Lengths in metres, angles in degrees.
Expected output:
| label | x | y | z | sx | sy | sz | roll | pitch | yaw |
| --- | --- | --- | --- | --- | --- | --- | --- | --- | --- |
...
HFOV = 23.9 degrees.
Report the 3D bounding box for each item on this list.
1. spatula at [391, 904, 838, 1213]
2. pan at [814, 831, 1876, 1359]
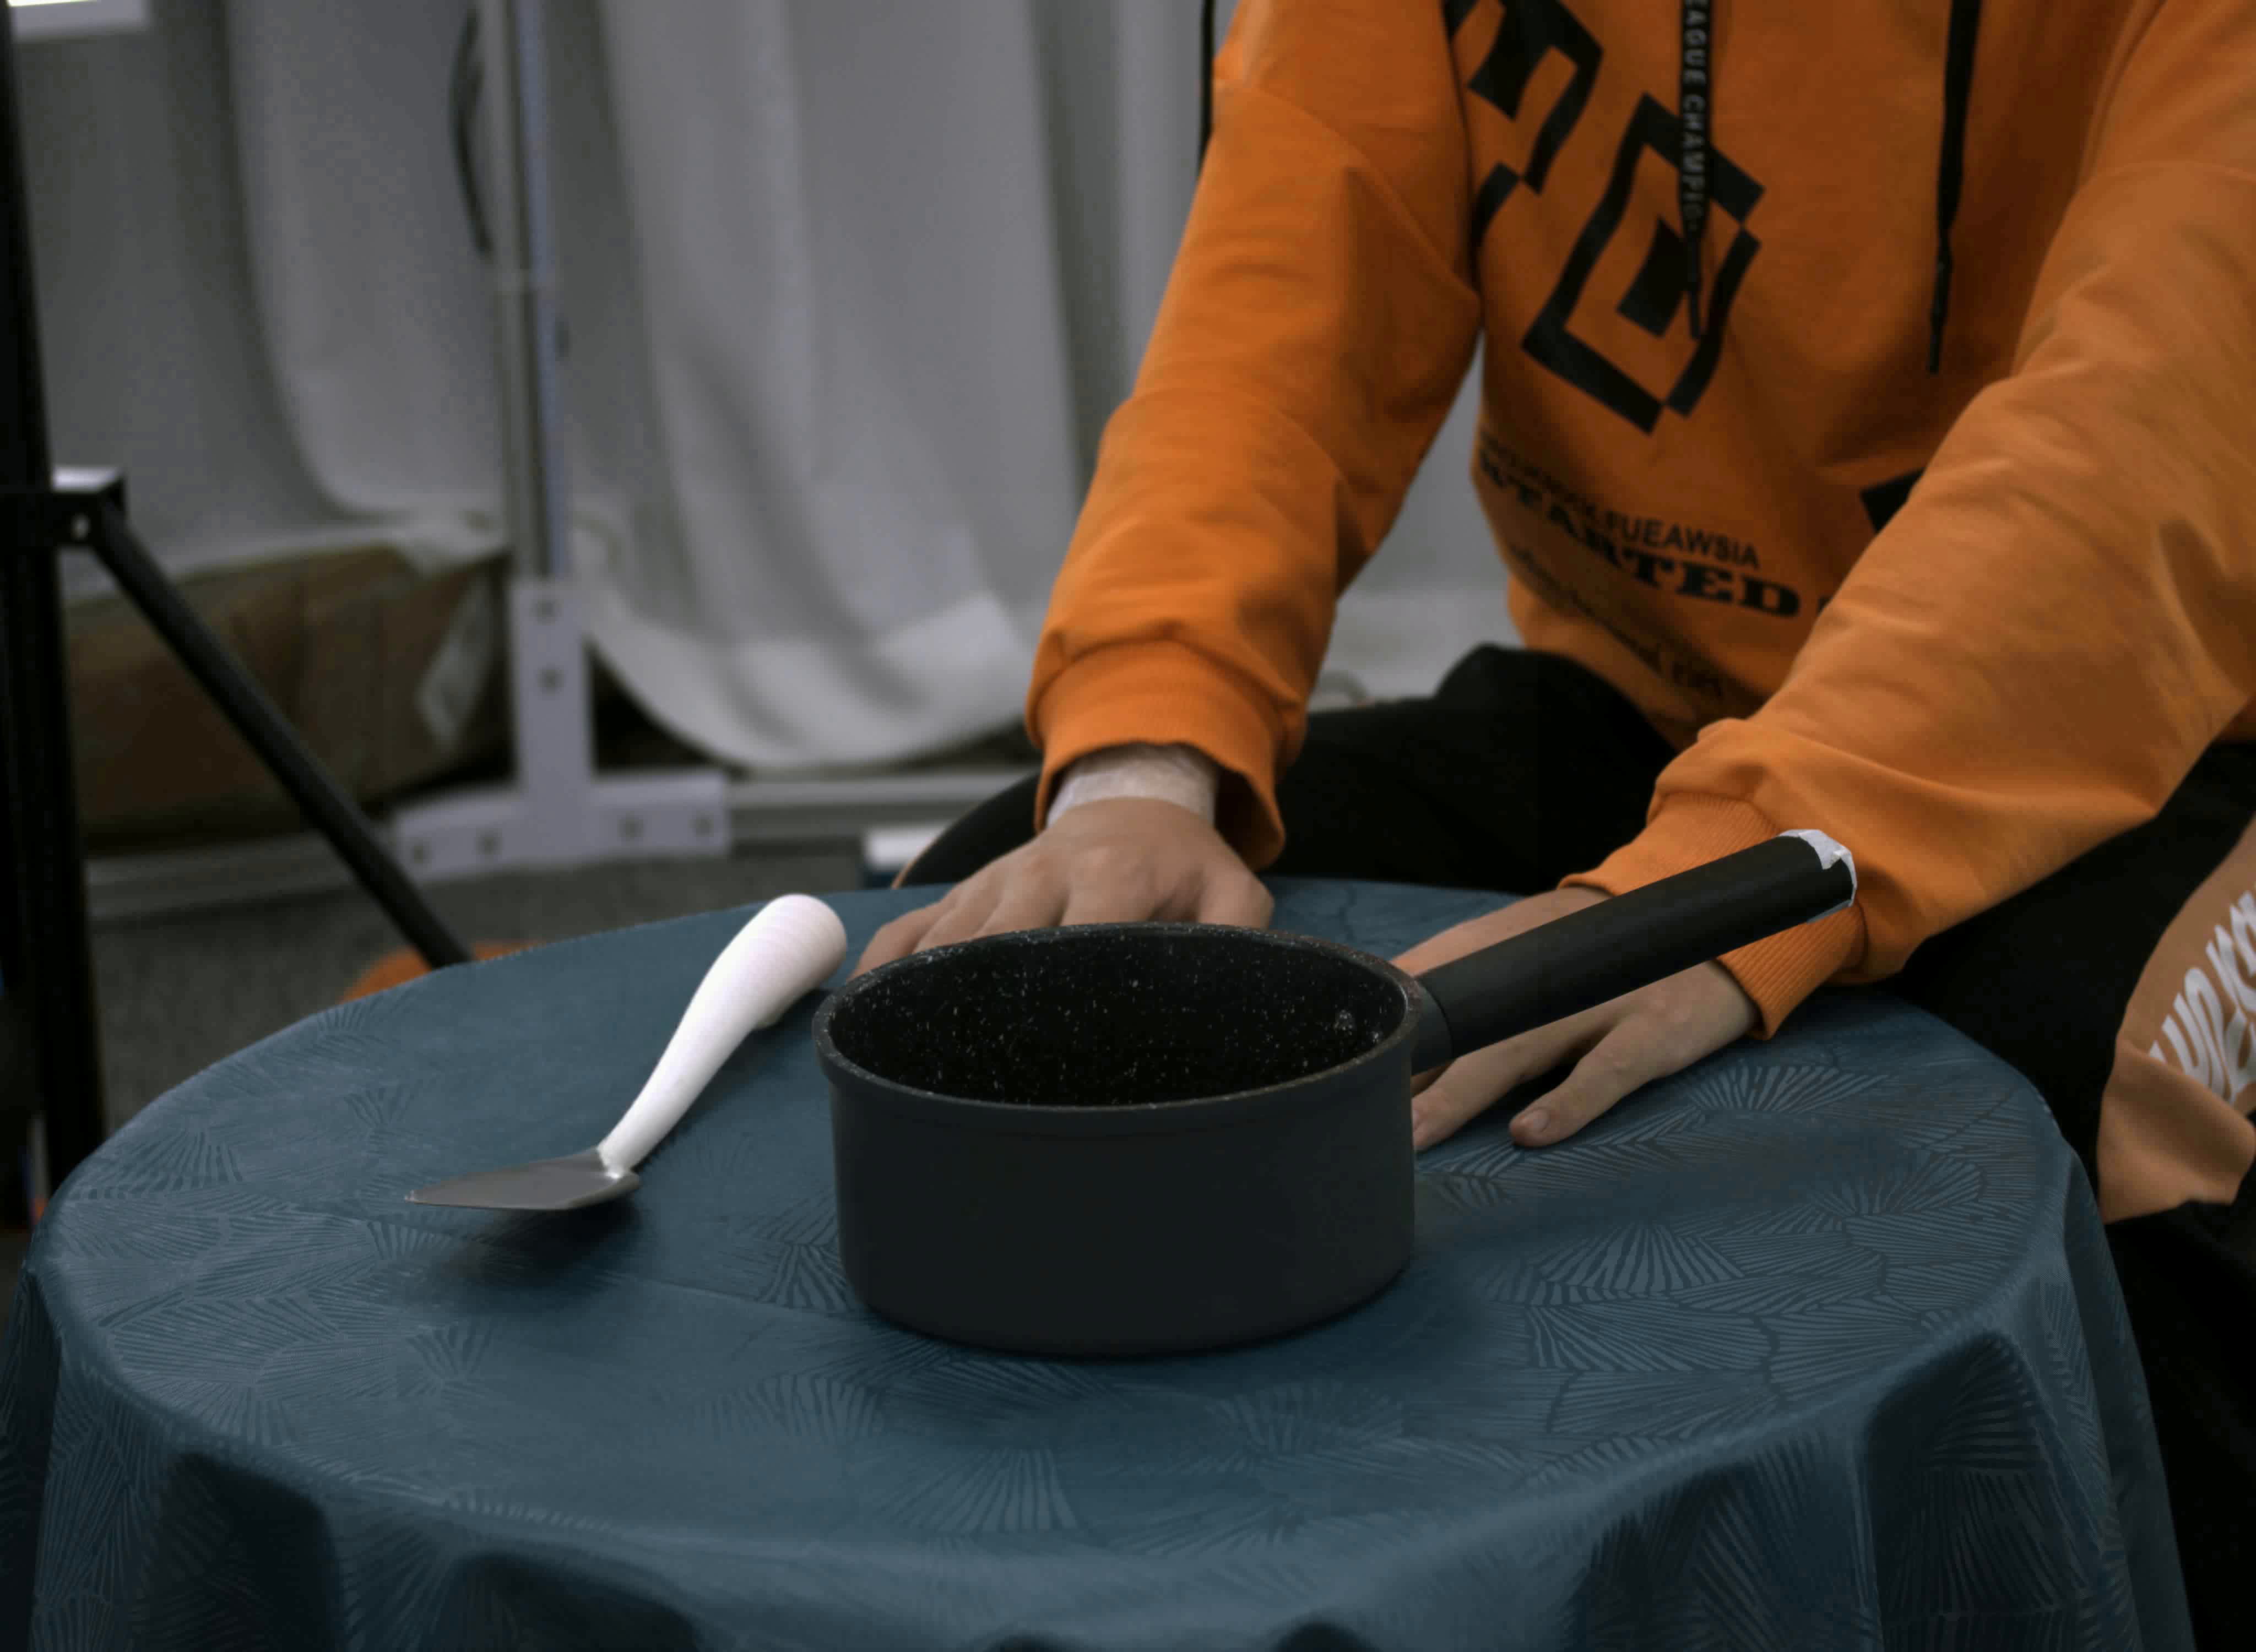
| label | x | y | z | sx | sy | sz | roll | pitch | yaw |
| --- | --- | --- | --- | --- | --- | --- | --- | --- | --- |
| spatula | -0.146 | 0.078 | 1.630 | 0.059 | 0.032 | 0.285 | 6 | 17 | 14 |
| pan | 0.070 | 0.072 | 1.519 | 0.322 | 0.086 | 0.175 | -11 | 18 | -22 |
